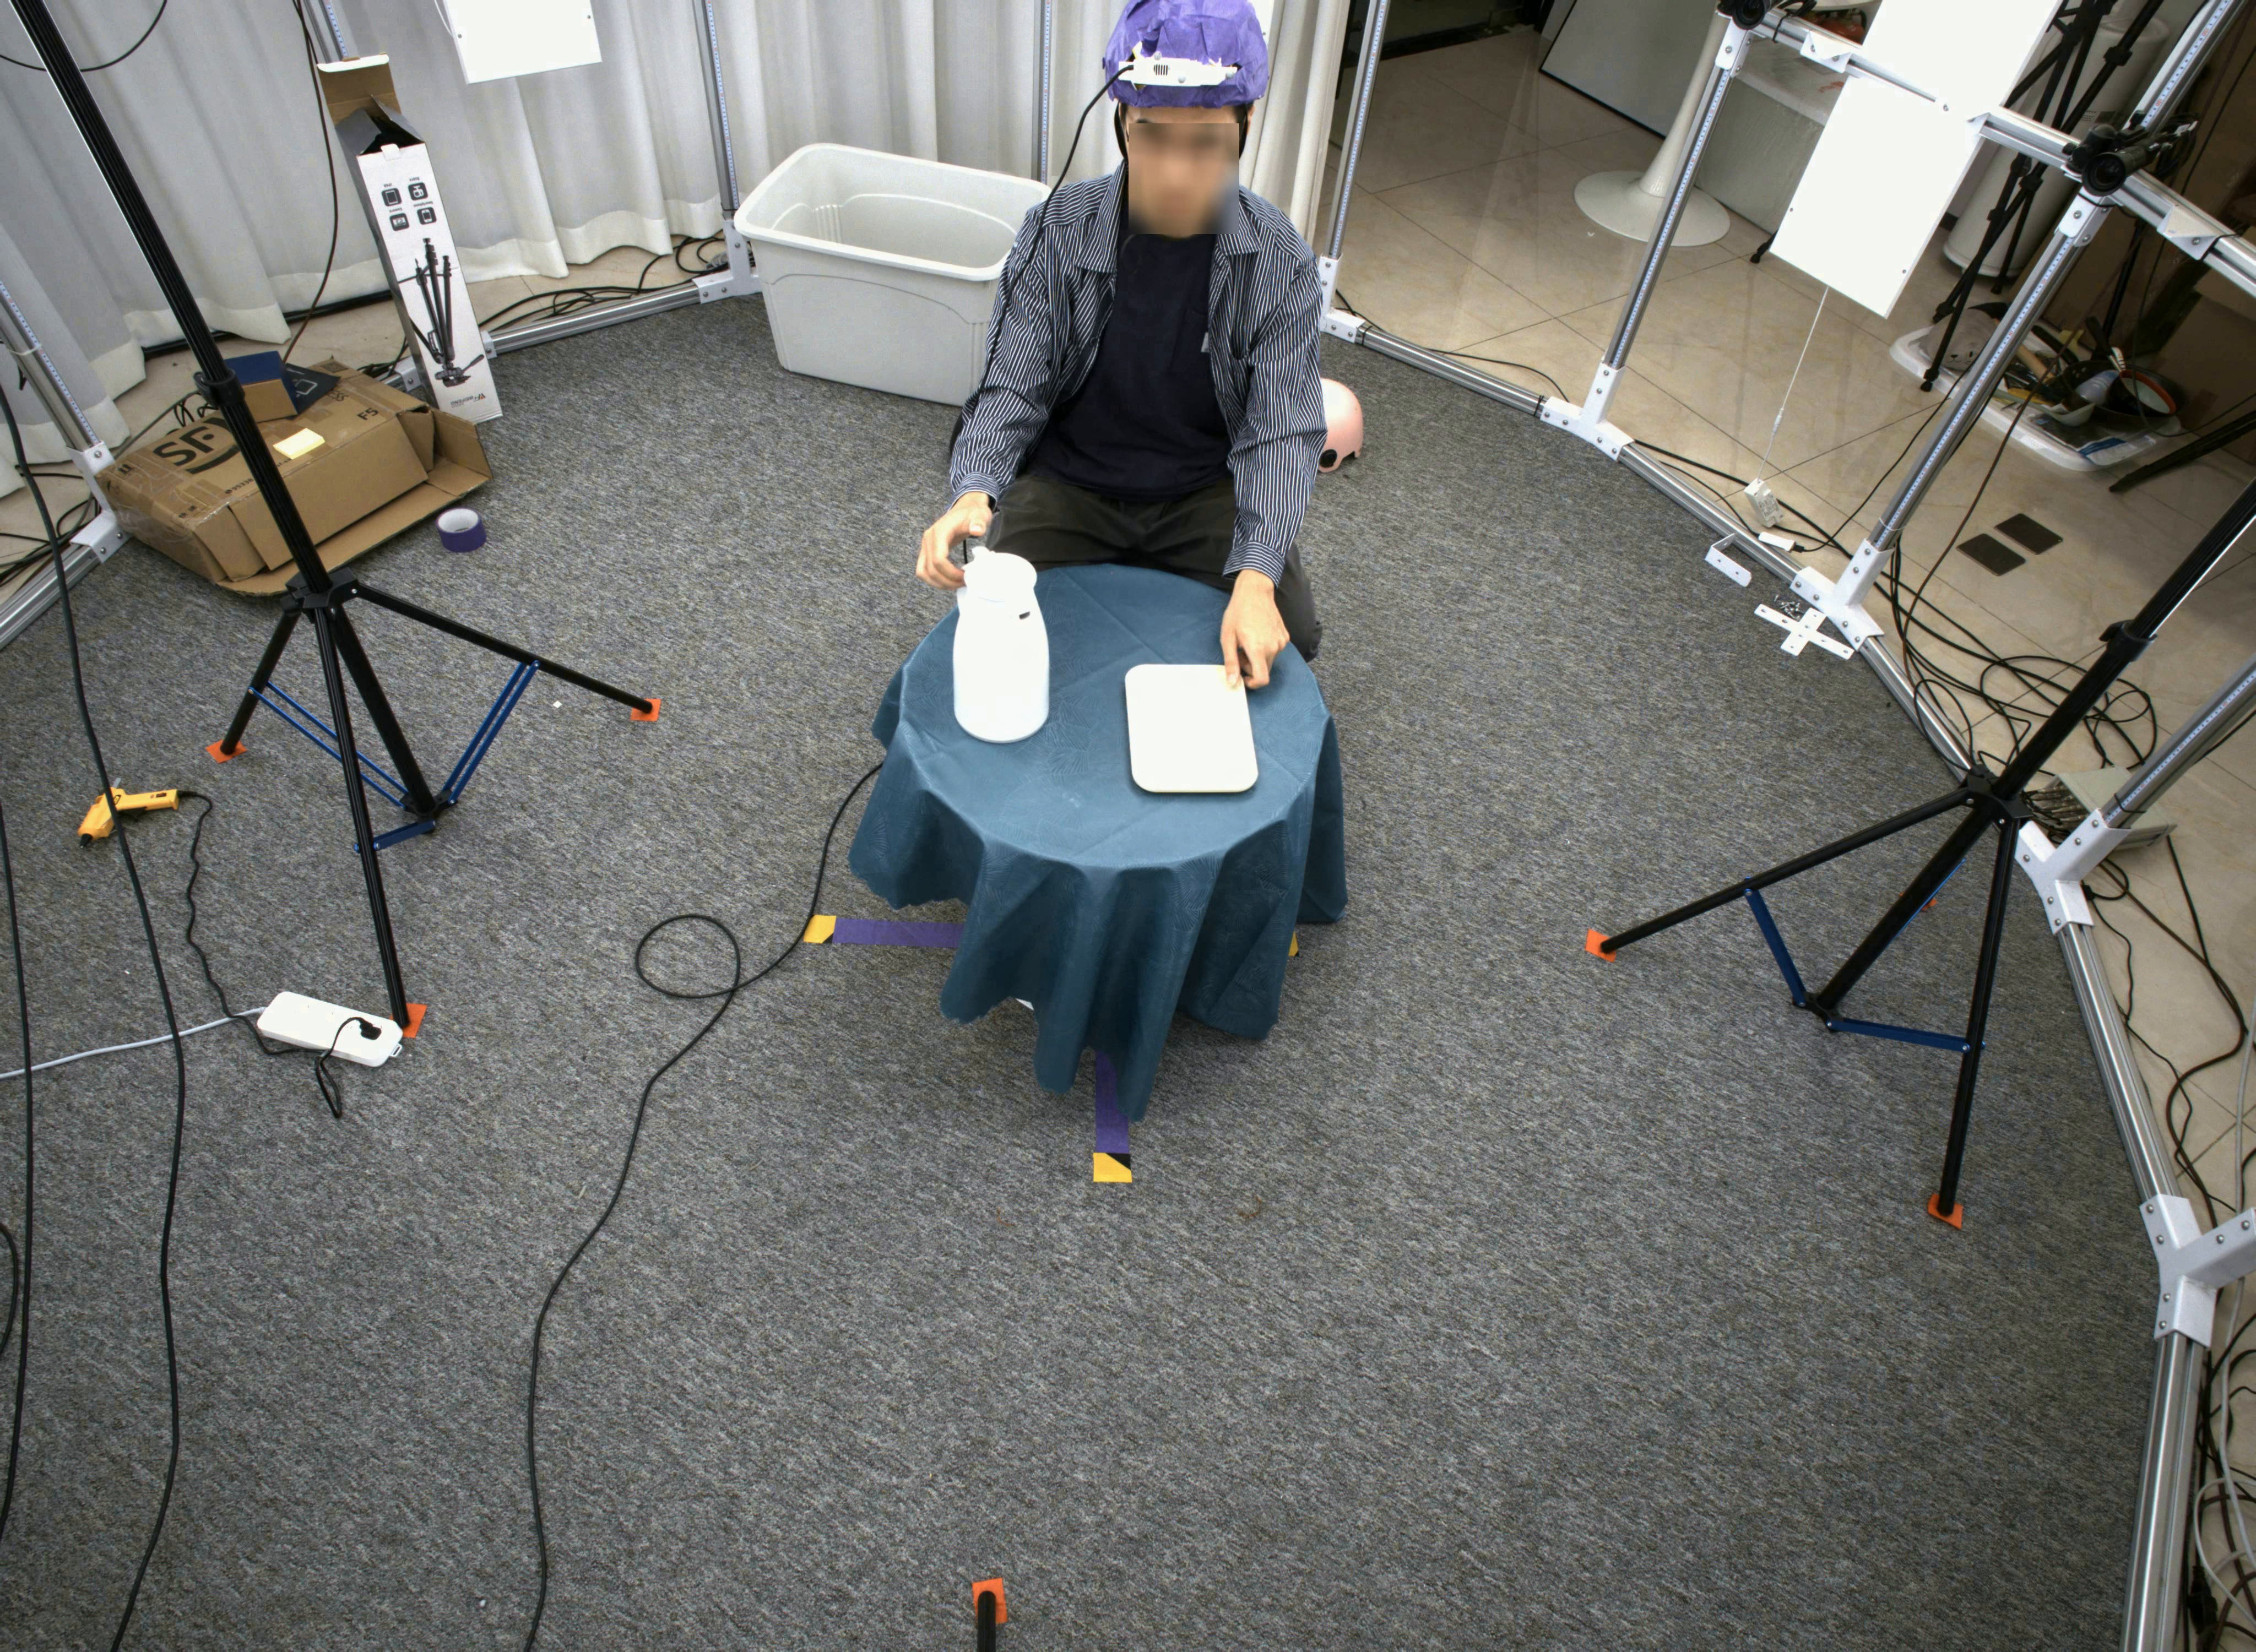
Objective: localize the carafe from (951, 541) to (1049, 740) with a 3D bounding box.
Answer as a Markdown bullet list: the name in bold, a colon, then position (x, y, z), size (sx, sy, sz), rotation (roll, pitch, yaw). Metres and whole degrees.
- **carafe**: position (-0.180, -0.256, 1.703), size (0.133, 0.242, 0.171), rotation (-29, 56, -26)

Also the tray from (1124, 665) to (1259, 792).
- **tray**: position (0.084, -0.136, 1.773), size (0.171, 0.017, 0.246), rotation (0, 48, -6)
